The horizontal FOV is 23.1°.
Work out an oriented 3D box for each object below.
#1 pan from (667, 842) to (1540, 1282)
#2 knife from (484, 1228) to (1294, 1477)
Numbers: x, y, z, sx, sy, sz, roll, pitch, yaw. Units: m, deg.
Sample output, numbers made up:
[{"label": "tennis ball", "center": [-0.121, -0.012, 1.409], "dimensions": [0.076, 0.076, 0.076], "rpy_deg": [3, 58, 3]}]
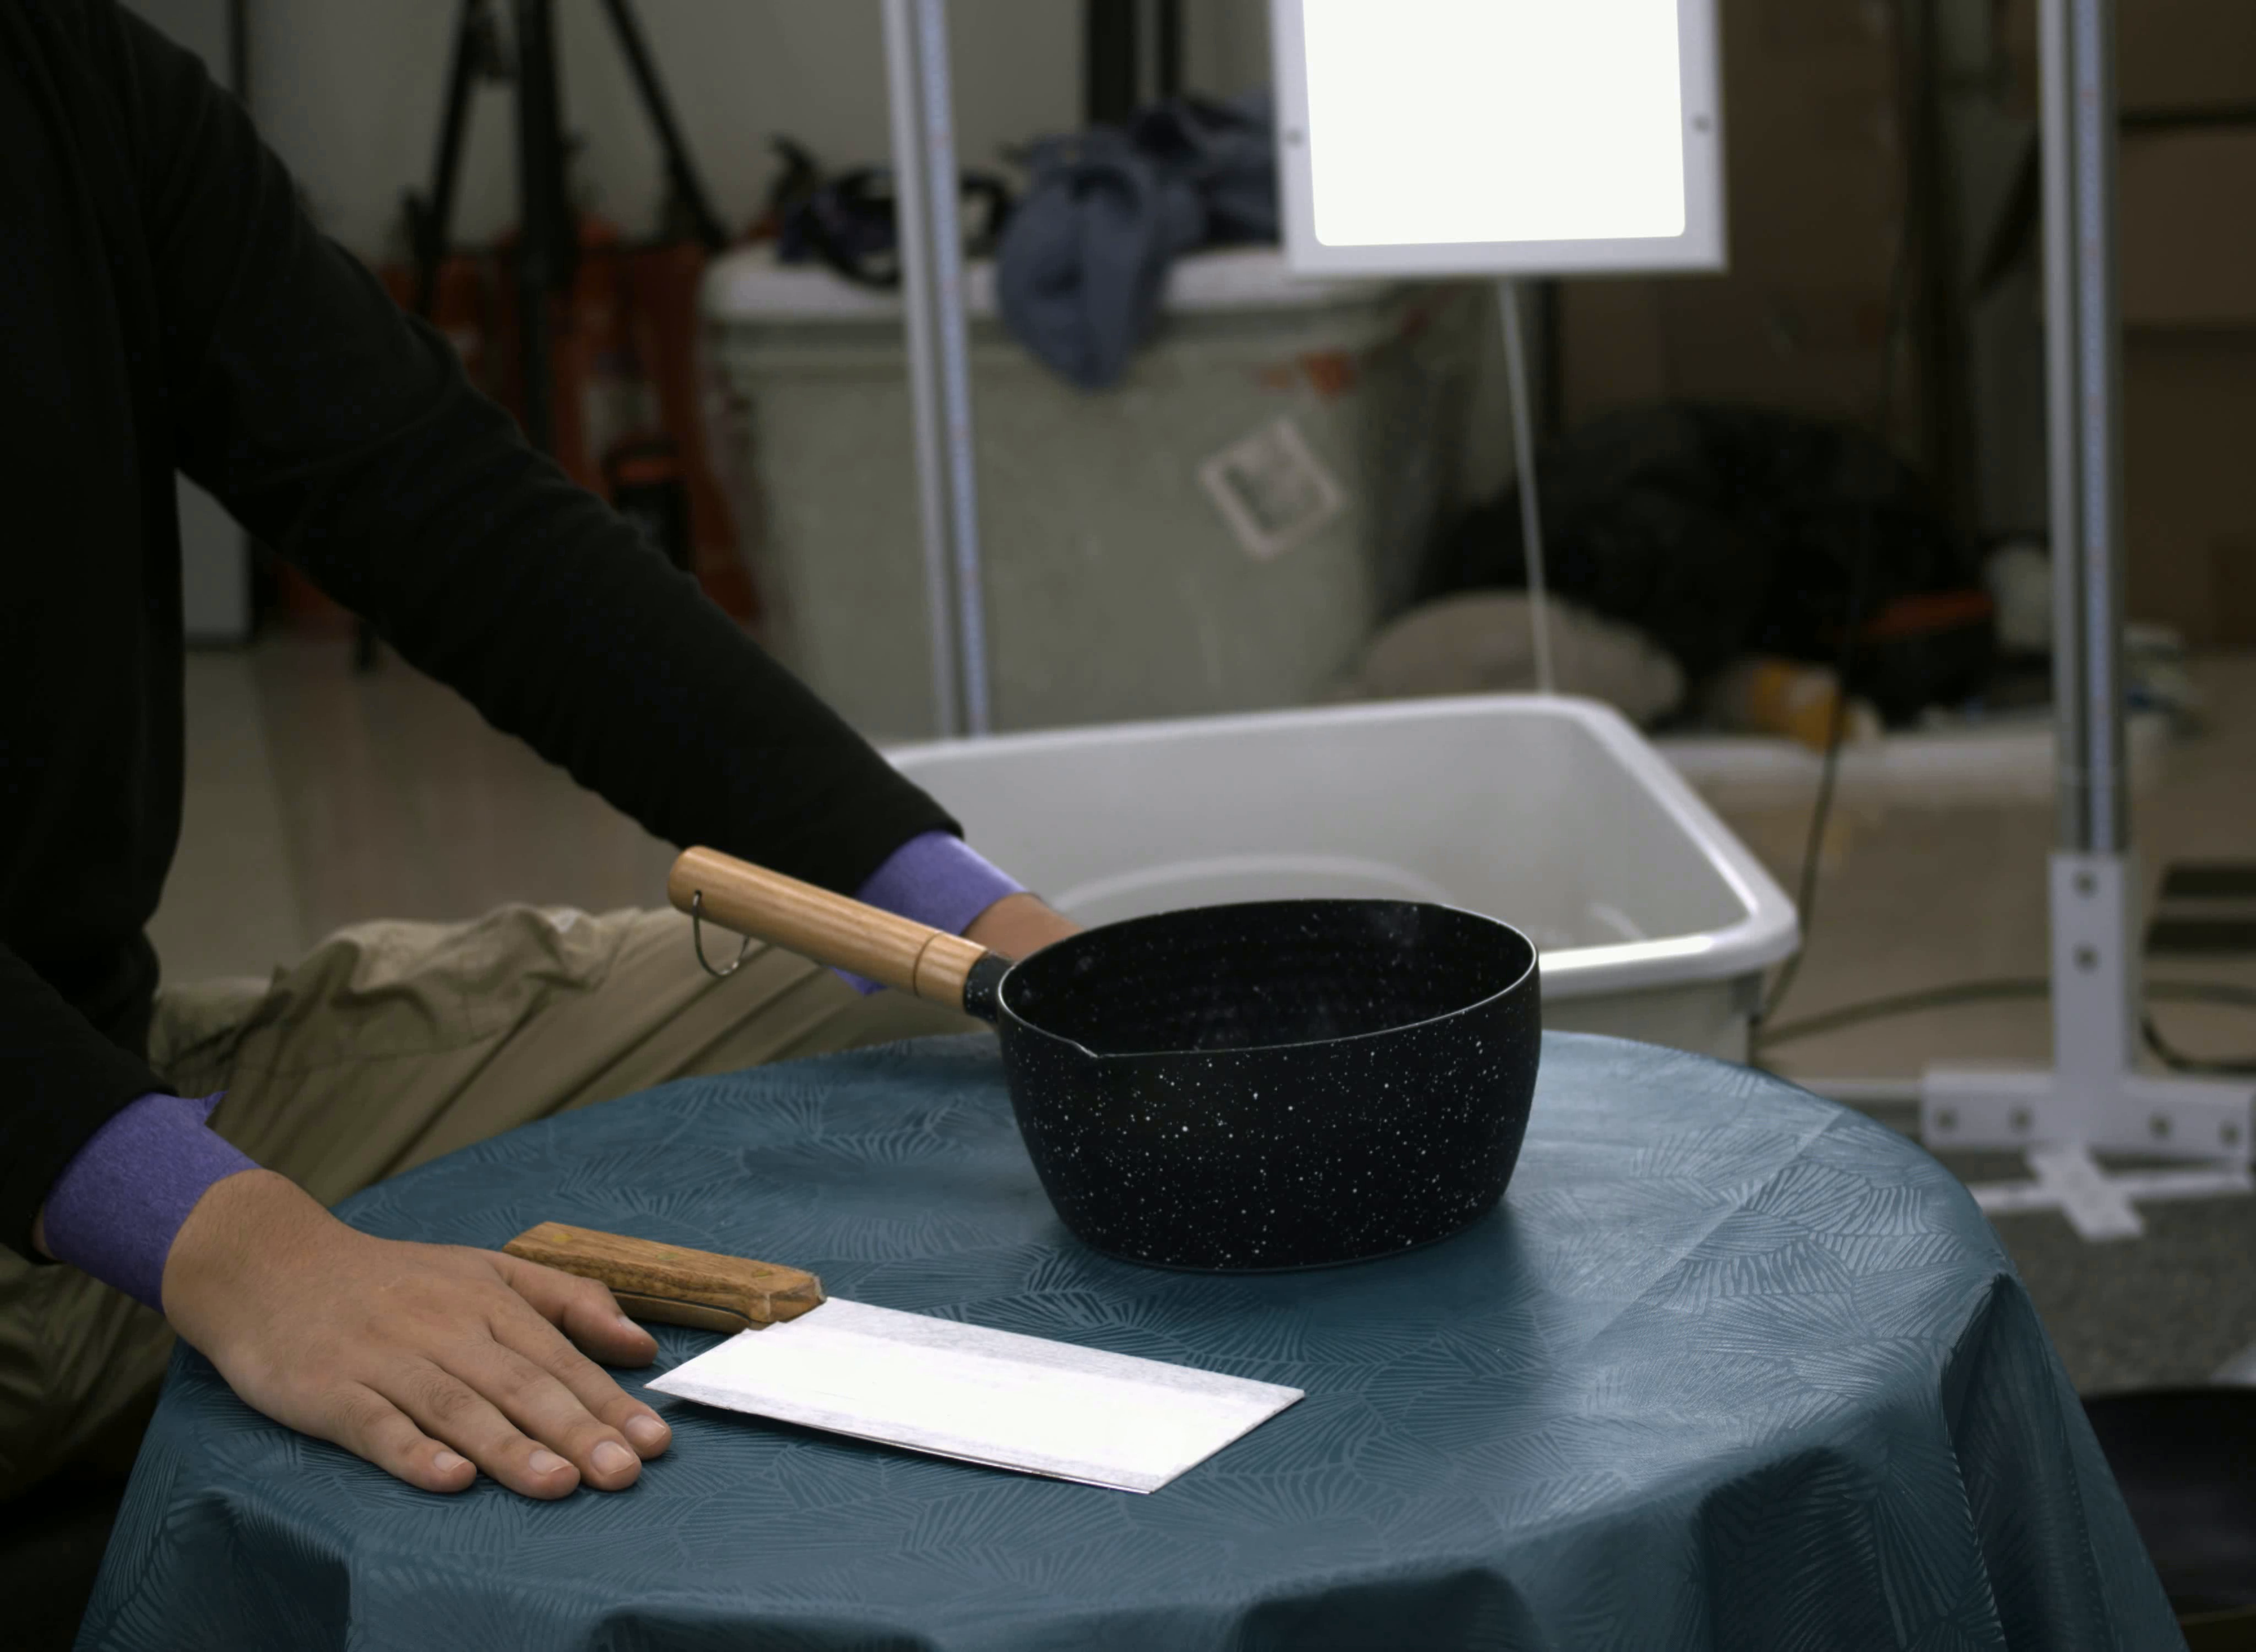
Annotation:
[{"label": "pan", "center": [-0.019, 0.073, 1.901], "dimensions": [0.349, 0.108, 0.202], "rpy_deg": [5, 17, 33]}, {"label": "knife", "center": [-0.095, 0.168, 1.735], "dimensions": [0.312, 0.021, 0.090], "rpy_deg": [7, 20, 35]}]
